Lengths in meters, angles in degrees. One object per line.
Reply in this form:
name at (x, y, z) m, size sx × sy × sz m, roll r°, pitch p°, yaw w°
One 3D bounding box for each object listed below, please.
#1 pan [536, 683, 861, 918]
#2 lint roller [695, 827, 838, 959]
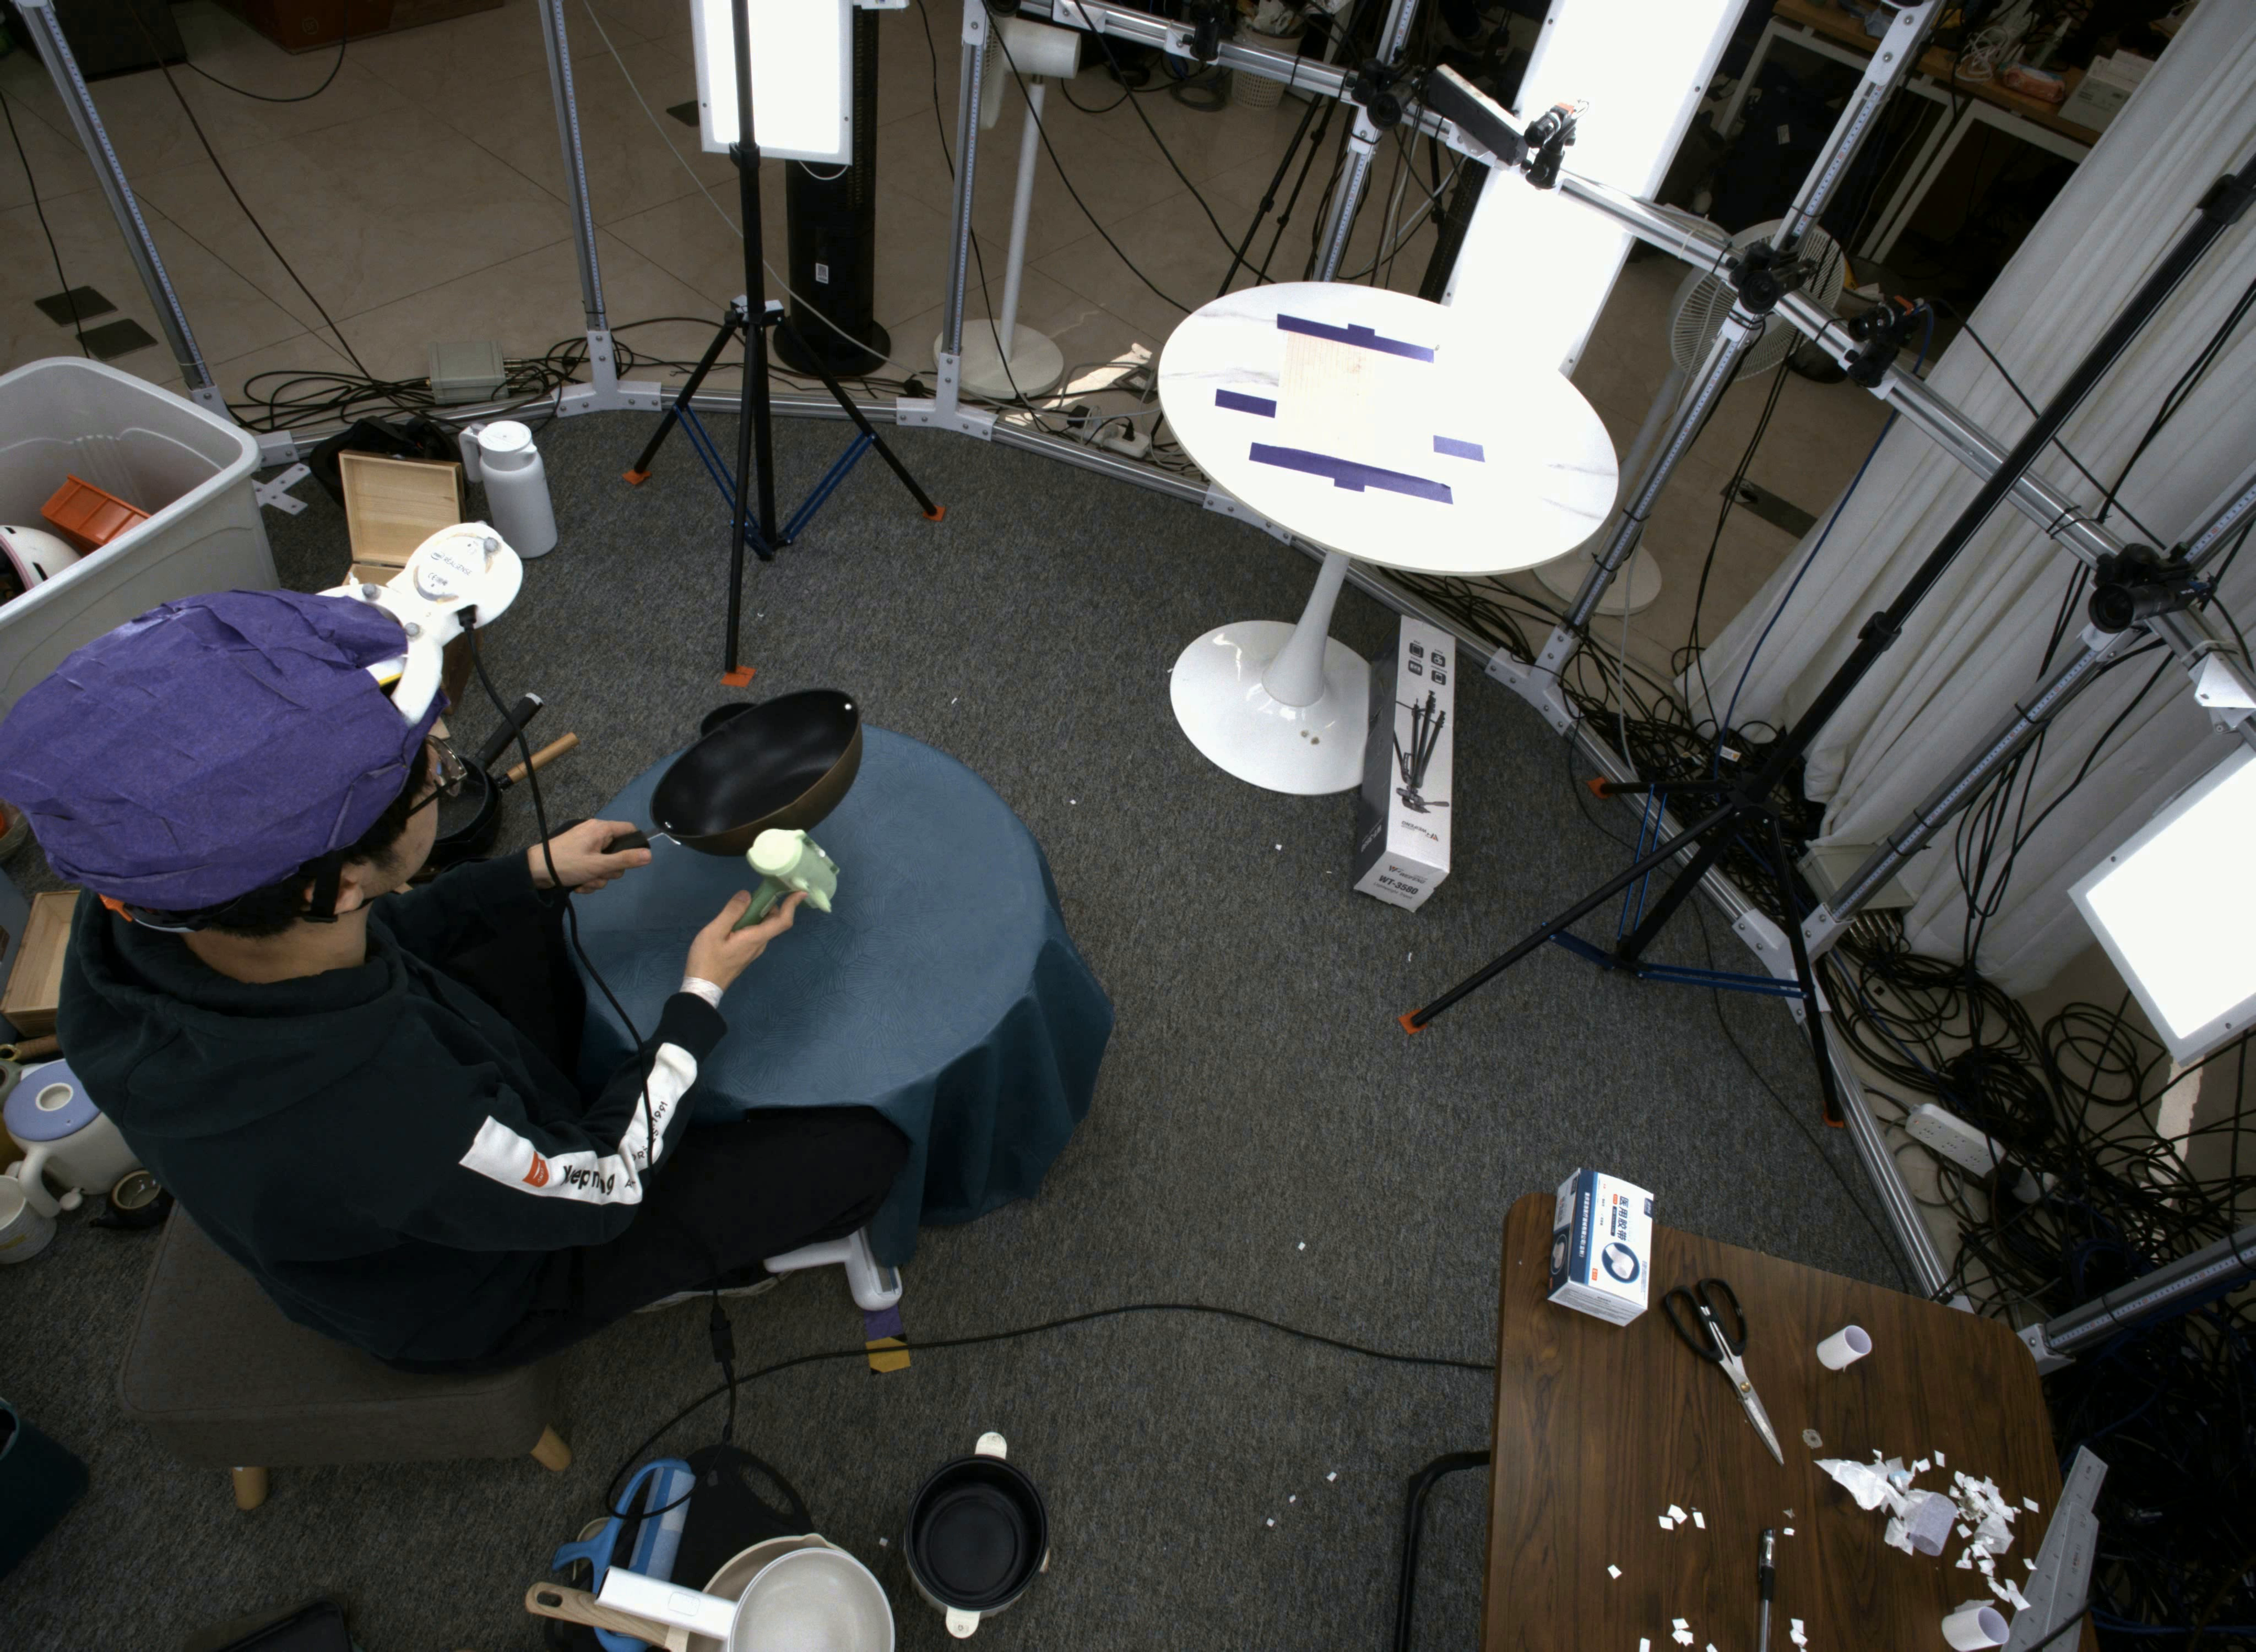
pan at (-0.505, -0.004, 1.538) m, size 0.463 × 0.090 × 0.277 m, roll -35°, pitch 38°, yaw -14°
lint roller at (-0.416, 0.094, 1.496) m, size 0.081 × 0.201 × 0.183 m, roll 35°, pitch 79°, yaw 9°
